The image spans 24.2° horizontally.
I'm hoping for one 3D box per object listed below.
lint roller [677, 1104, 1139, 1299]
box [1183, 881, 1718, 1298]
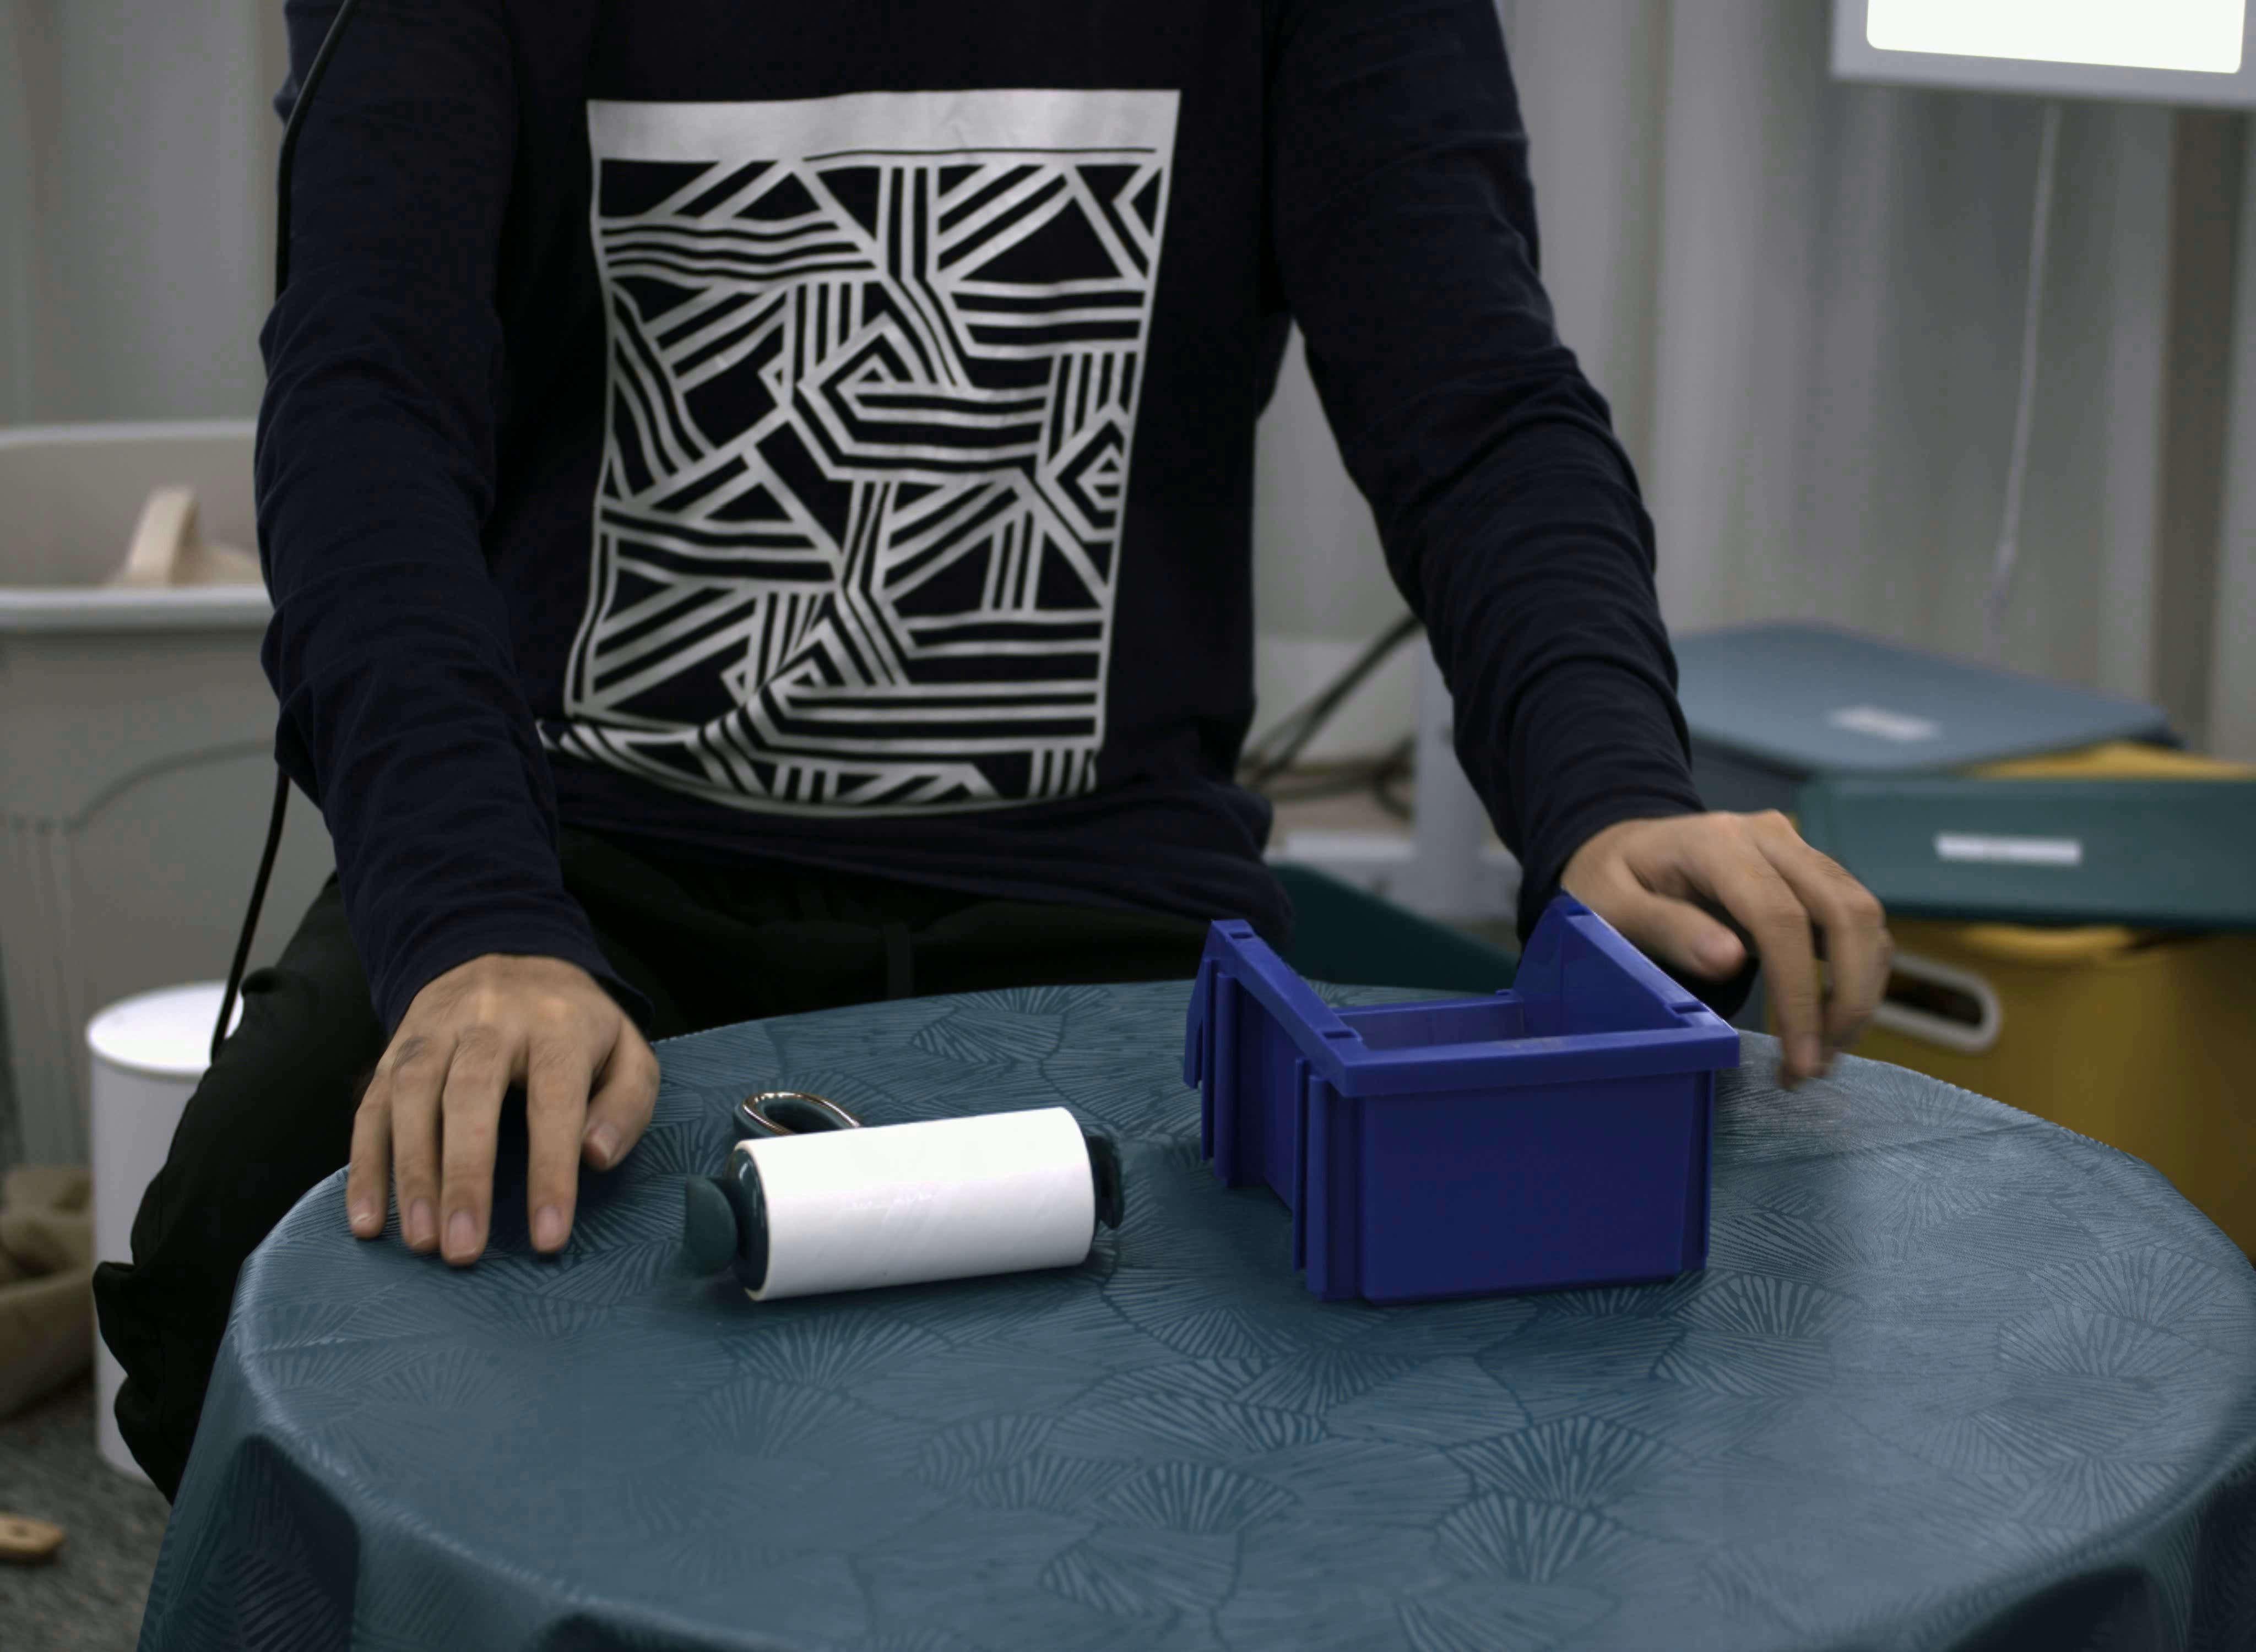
[{"bbox_3d":[-0.087,0.098,1.601,0.134,0.048,0.178,-5,12,-19],"label":"lint roller"},{"bbox_3d":[0.092,0.076,1.607,0.124,0.082,0.177,-4,19,-12],"label":"box"}]
